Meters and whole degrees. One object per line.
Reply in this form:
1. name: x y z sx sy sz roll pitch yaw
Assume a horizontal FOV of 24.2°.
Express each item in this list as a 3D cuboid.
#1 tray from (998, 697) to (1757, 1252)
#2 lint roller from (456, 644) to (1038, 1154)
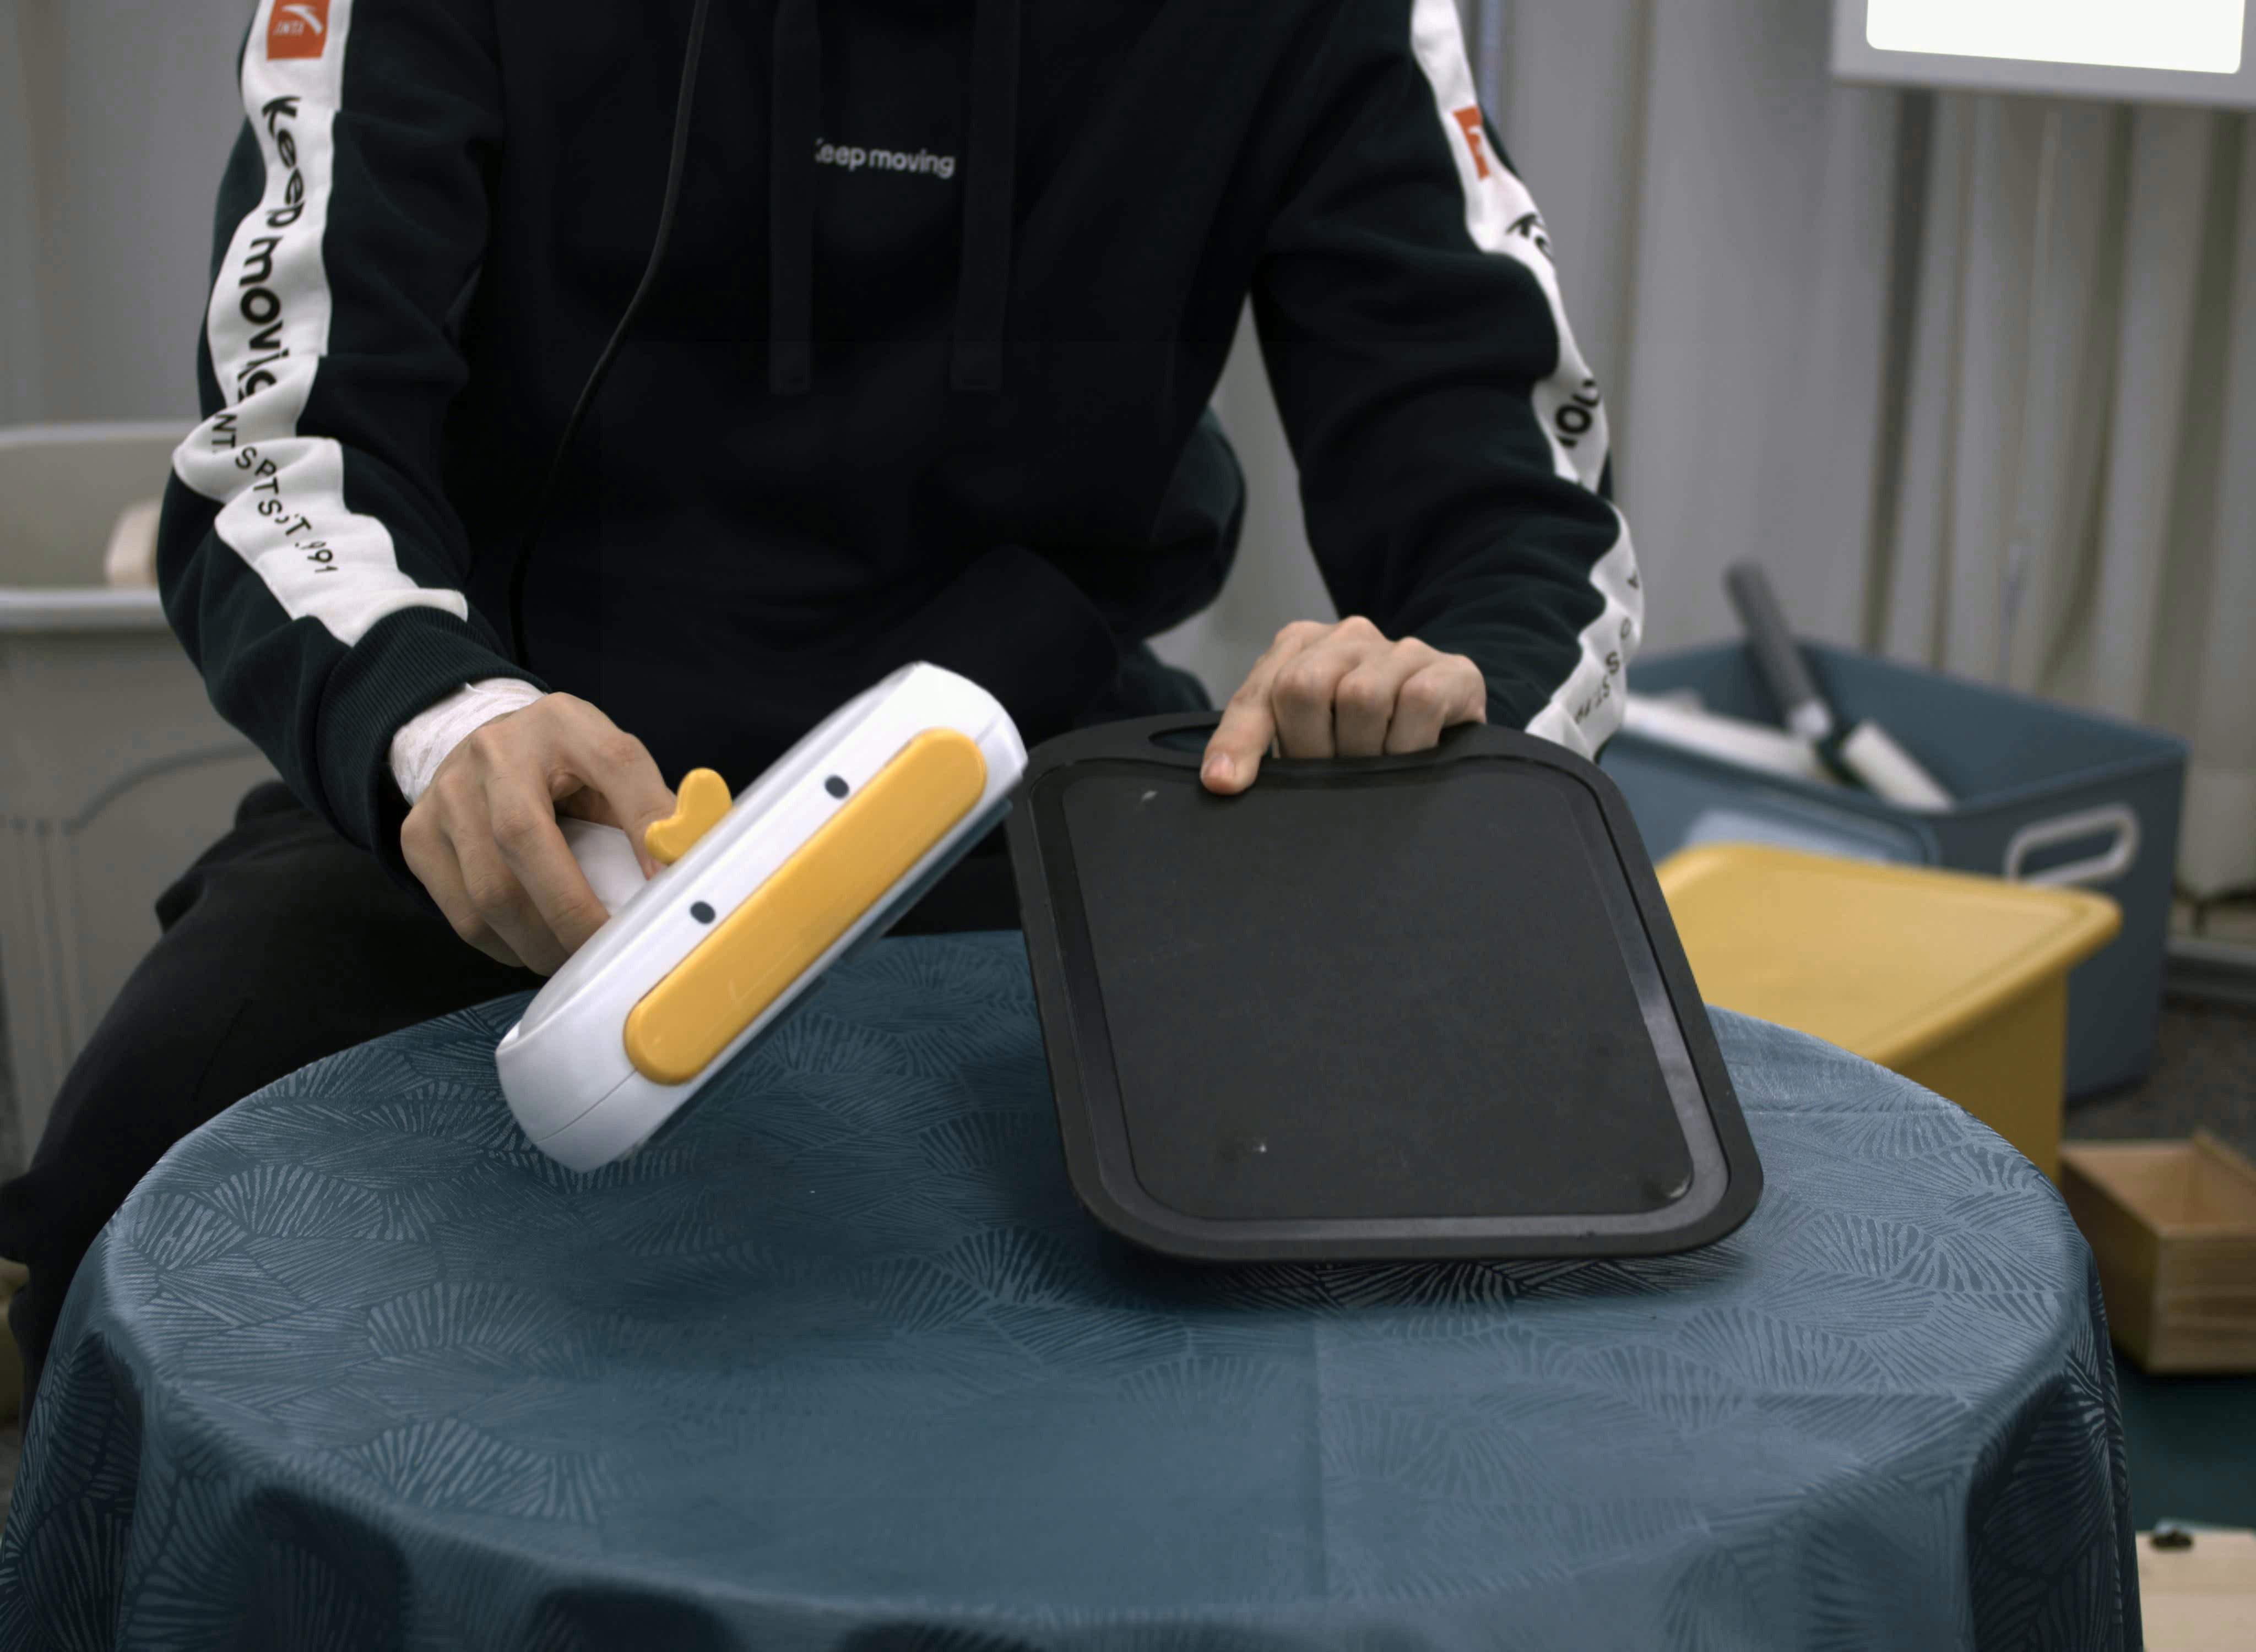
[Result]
1. tray: 0.071 0.038 1.656 0.211 0.010 0.322 0 31 -8
2. lint roller: -0.139 0.021 1.590 0.192 0.075 0.191 -50 20 -27
